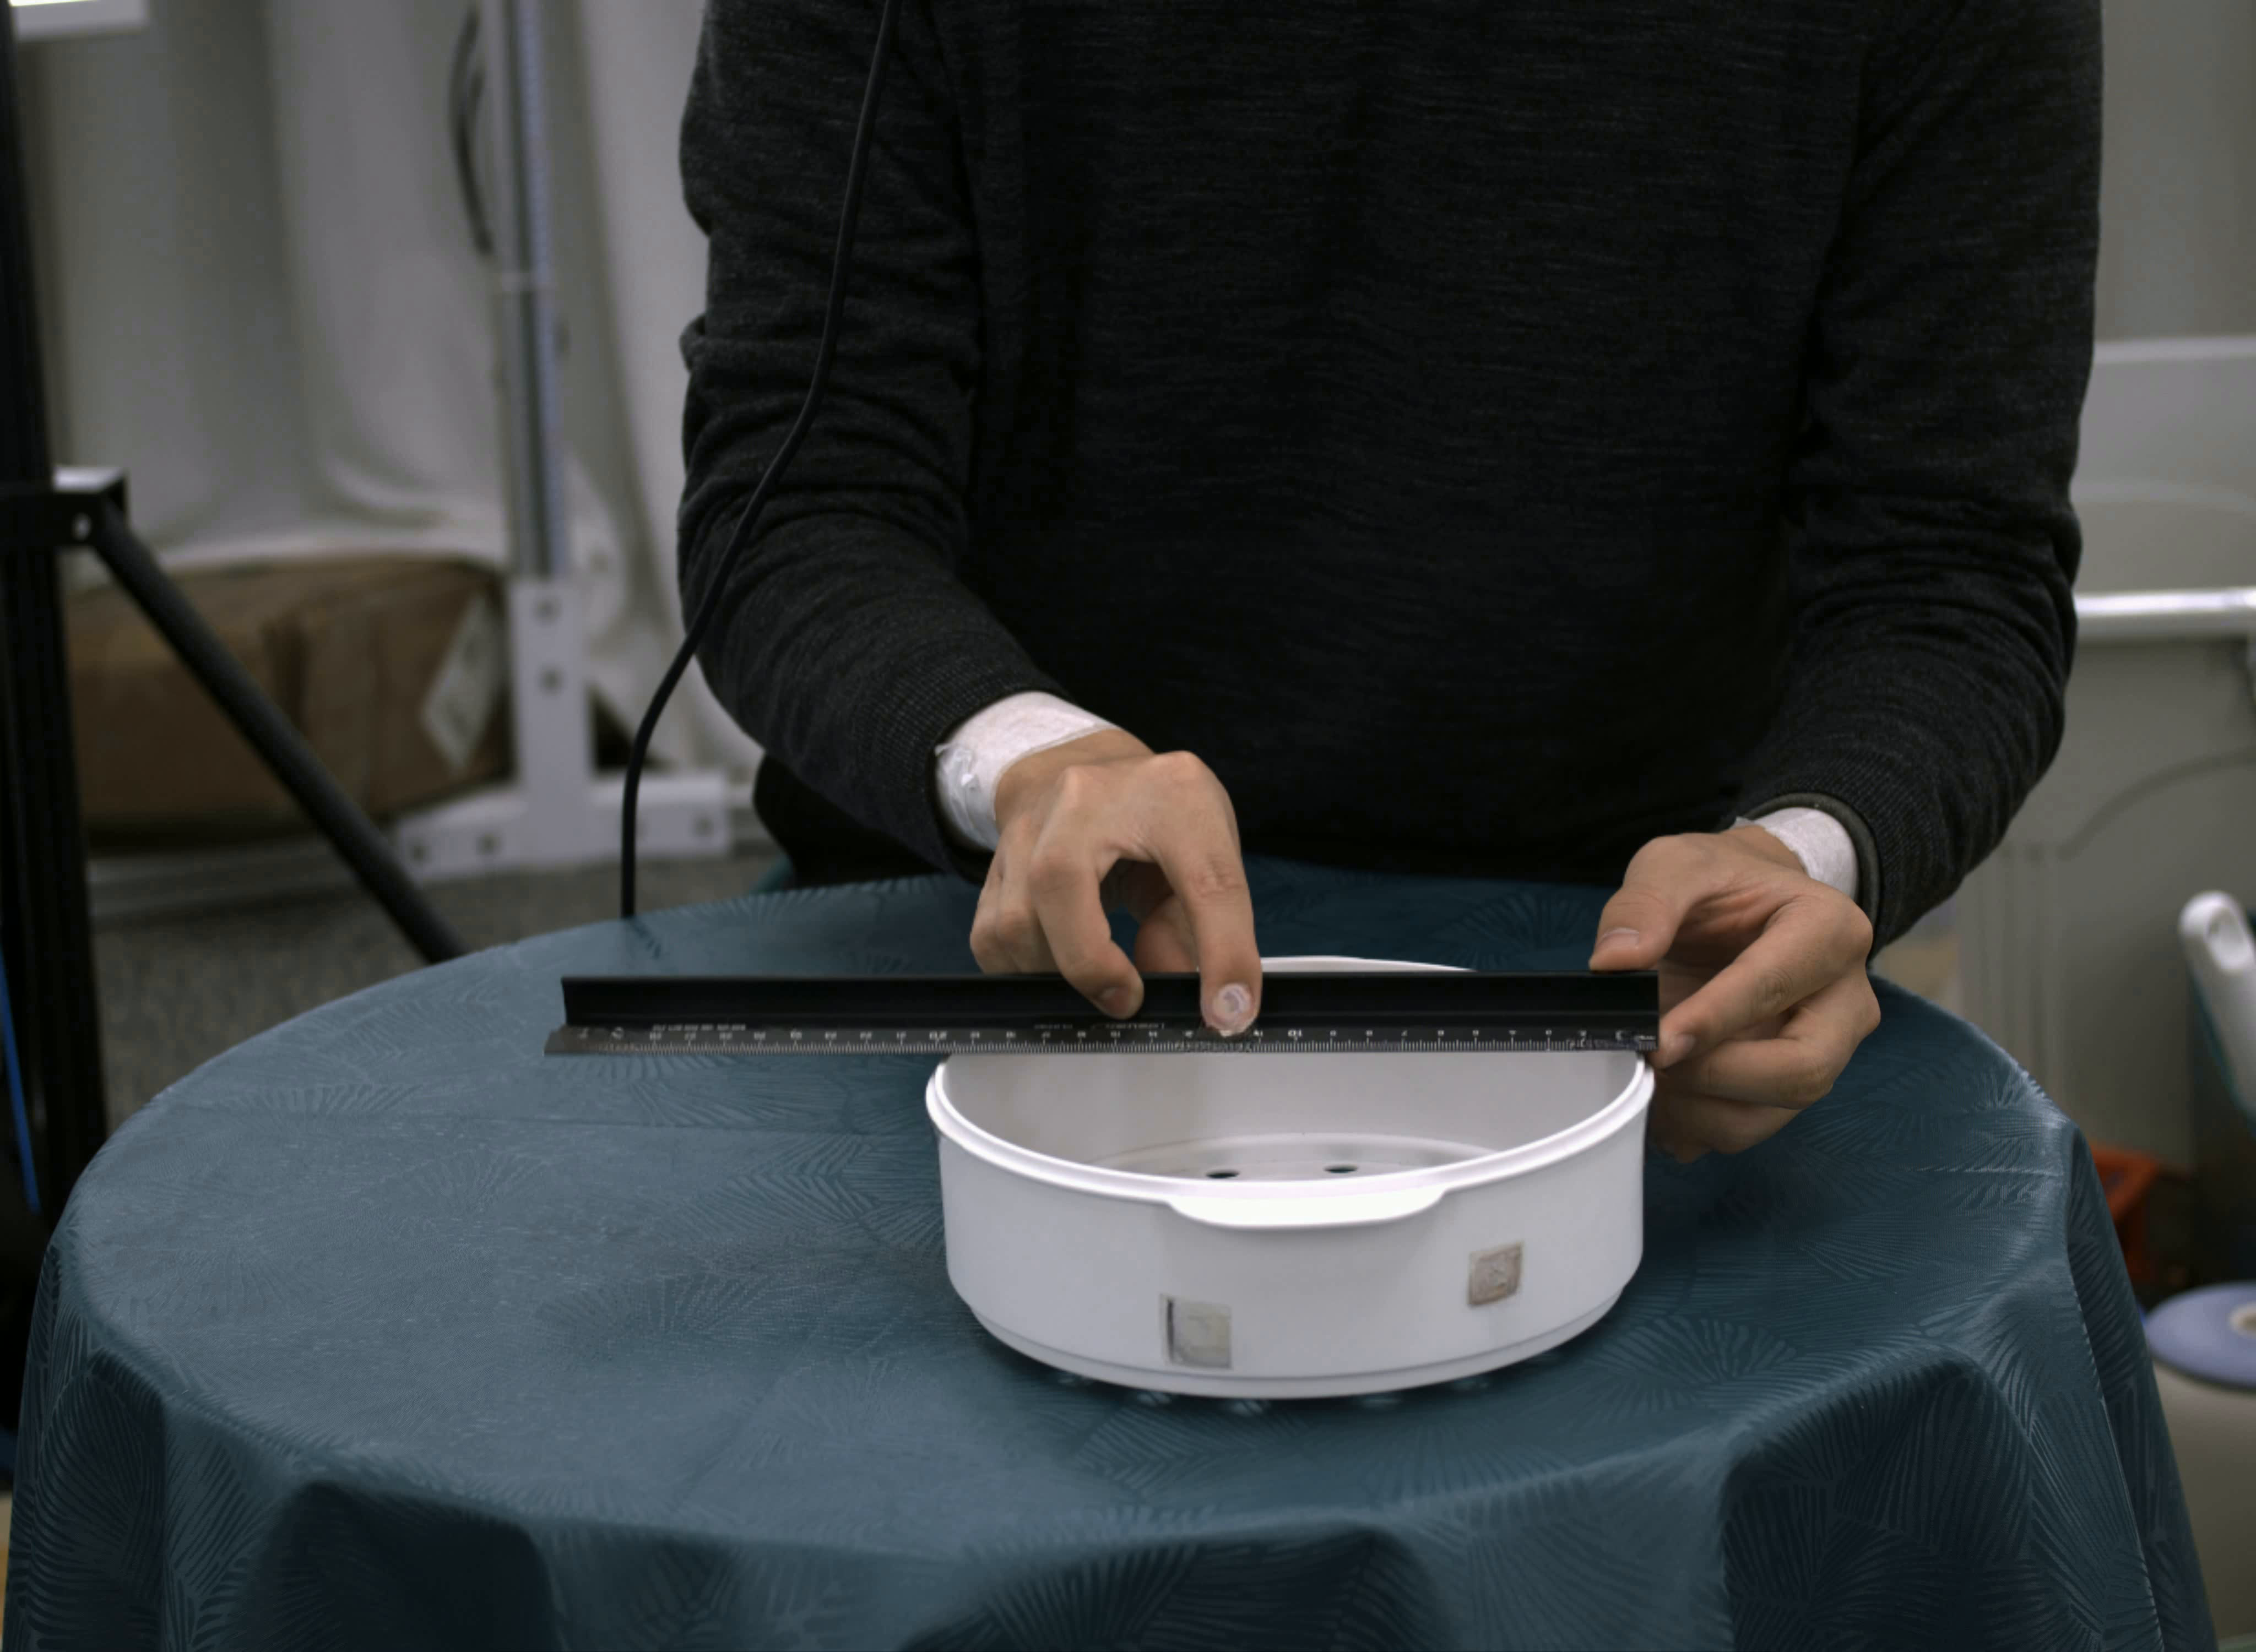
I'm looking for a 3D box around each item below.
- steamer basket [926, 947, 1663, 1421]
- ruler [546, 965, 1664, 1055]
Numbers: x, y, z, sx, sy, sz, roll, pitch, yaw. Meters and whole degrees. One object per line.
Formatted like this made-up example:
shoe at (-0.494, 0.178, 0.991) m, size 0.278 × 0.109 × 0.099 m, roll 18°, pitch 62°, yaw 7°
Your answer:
steamer basket at (0.046, 0.098, 1.458) m, size 0.201 × 0.069 × 0.232 m, roll -2°, pitch 18°, yaw 0°
ruler at (-0.007, 0.051, 1.478) m, size 0.313 × 0.017 × 0.039 m, roll 0°, pitch 14°, yaw 9°
